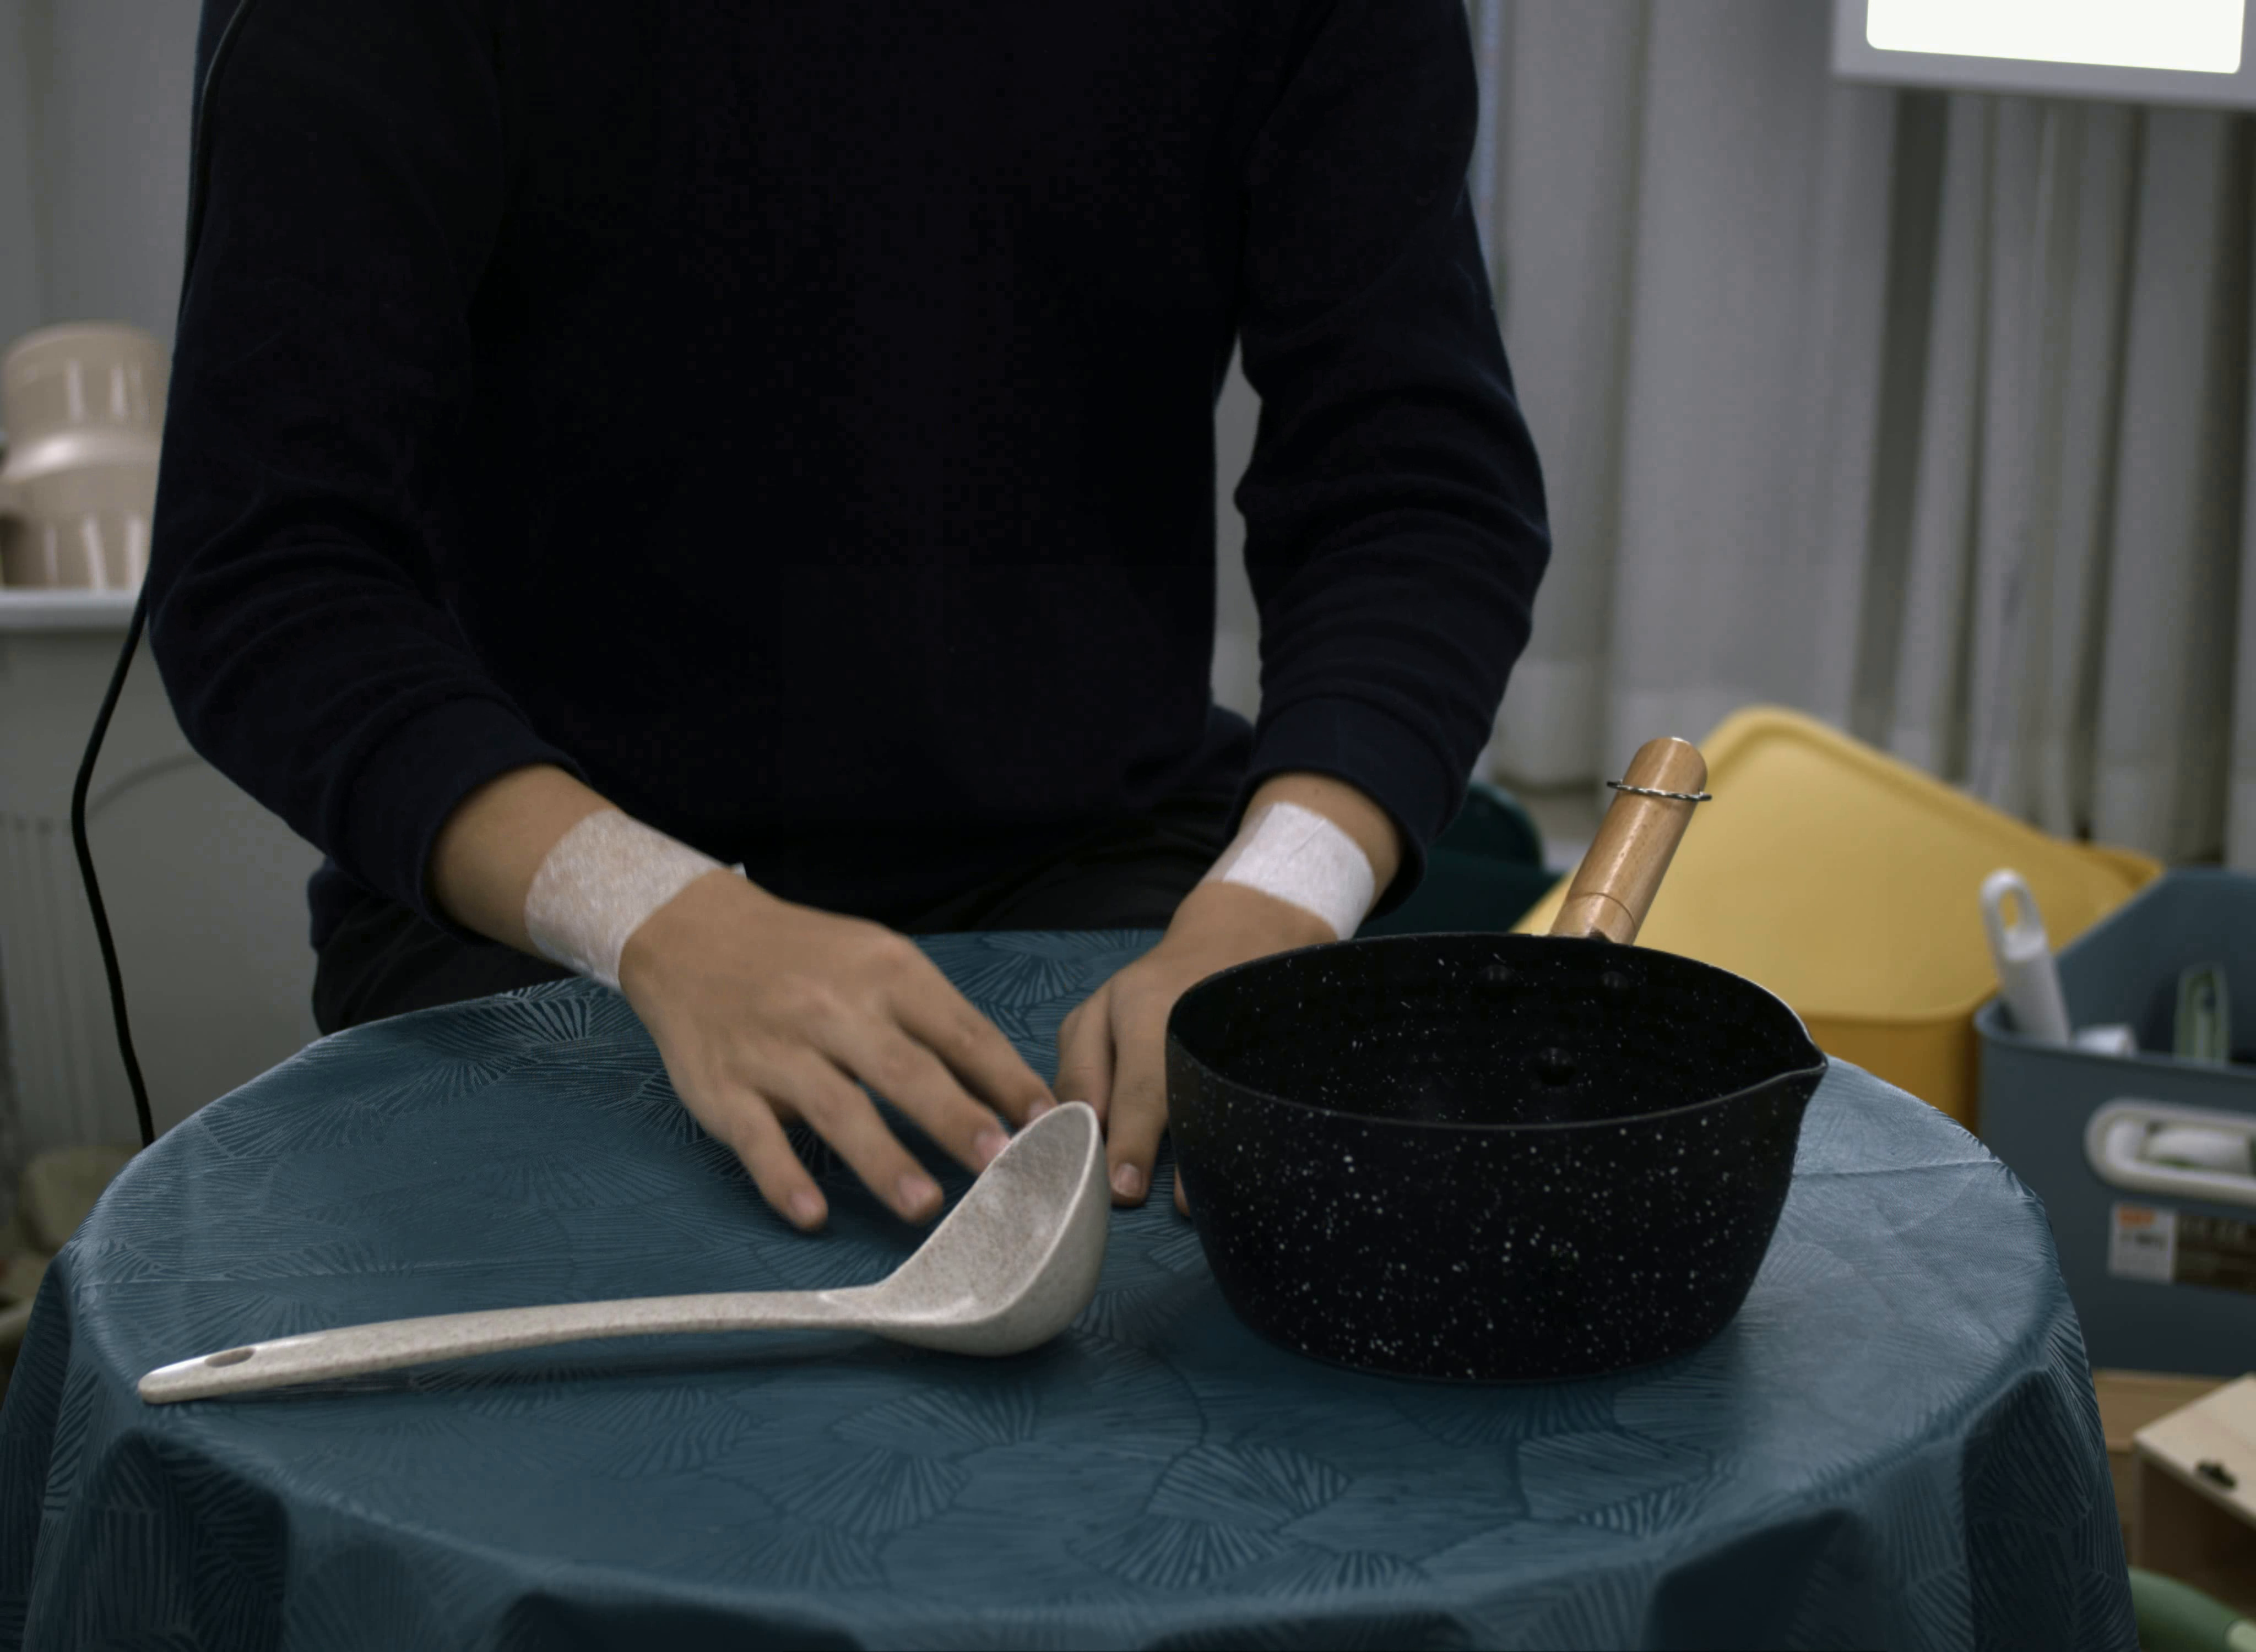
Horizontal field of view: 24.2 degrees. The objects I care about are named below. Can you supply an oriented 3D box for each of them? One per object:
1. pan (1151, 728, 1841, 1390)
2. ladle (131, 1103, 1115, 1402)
[{"bbox_3d":[0.126,0.065,1.595,0.206,0.109,0.342,4,17,16],"label":"pan"},{"bbox_3d":[-0.139,0.119,1.466,0.275,0.070,0.088,-2,21,-11],"label":"ladle"}]
